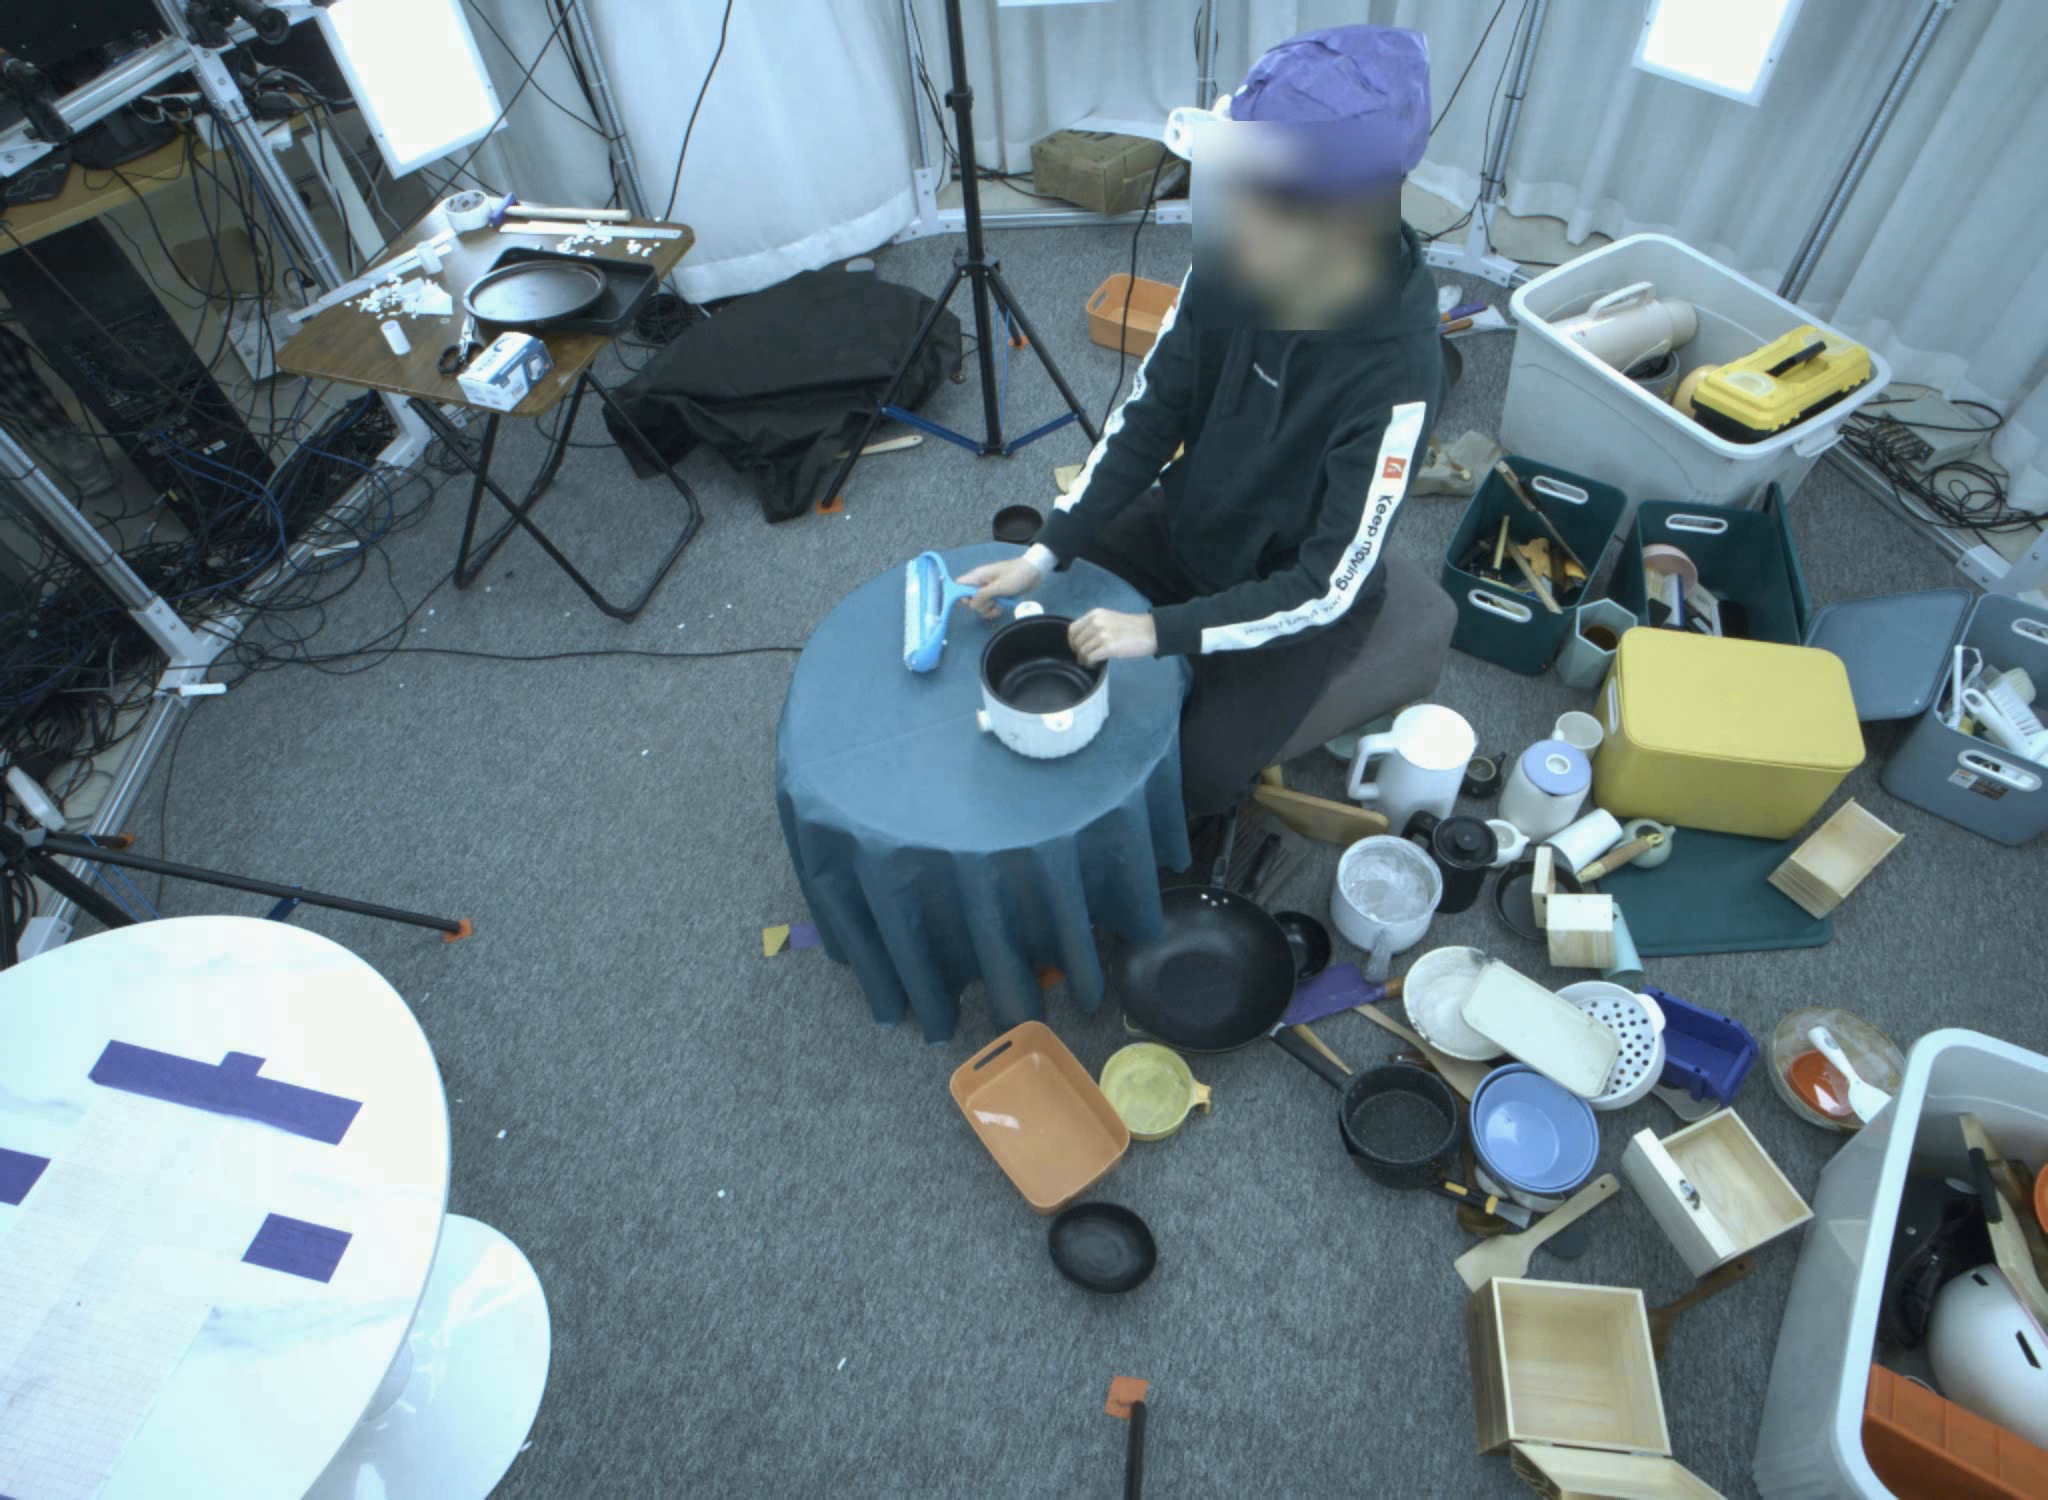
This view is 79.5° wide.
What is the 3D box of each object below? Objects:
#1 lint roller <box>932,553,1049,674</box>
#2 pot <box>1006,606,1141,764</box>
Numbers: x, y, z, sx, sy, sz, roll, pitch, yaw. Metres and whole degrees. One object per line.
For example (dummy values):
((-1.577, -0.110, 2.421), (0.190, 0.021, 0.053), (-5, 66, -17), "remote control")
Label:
((-0.056, -0.224, 1.894), (0.179, 0.069, 0.226), (-12, 52, 10), "lint roller")
((0.068, -0.074, 1.747), (0.191, 0.144, 0.237), (-9, 53, -7), "pot")
